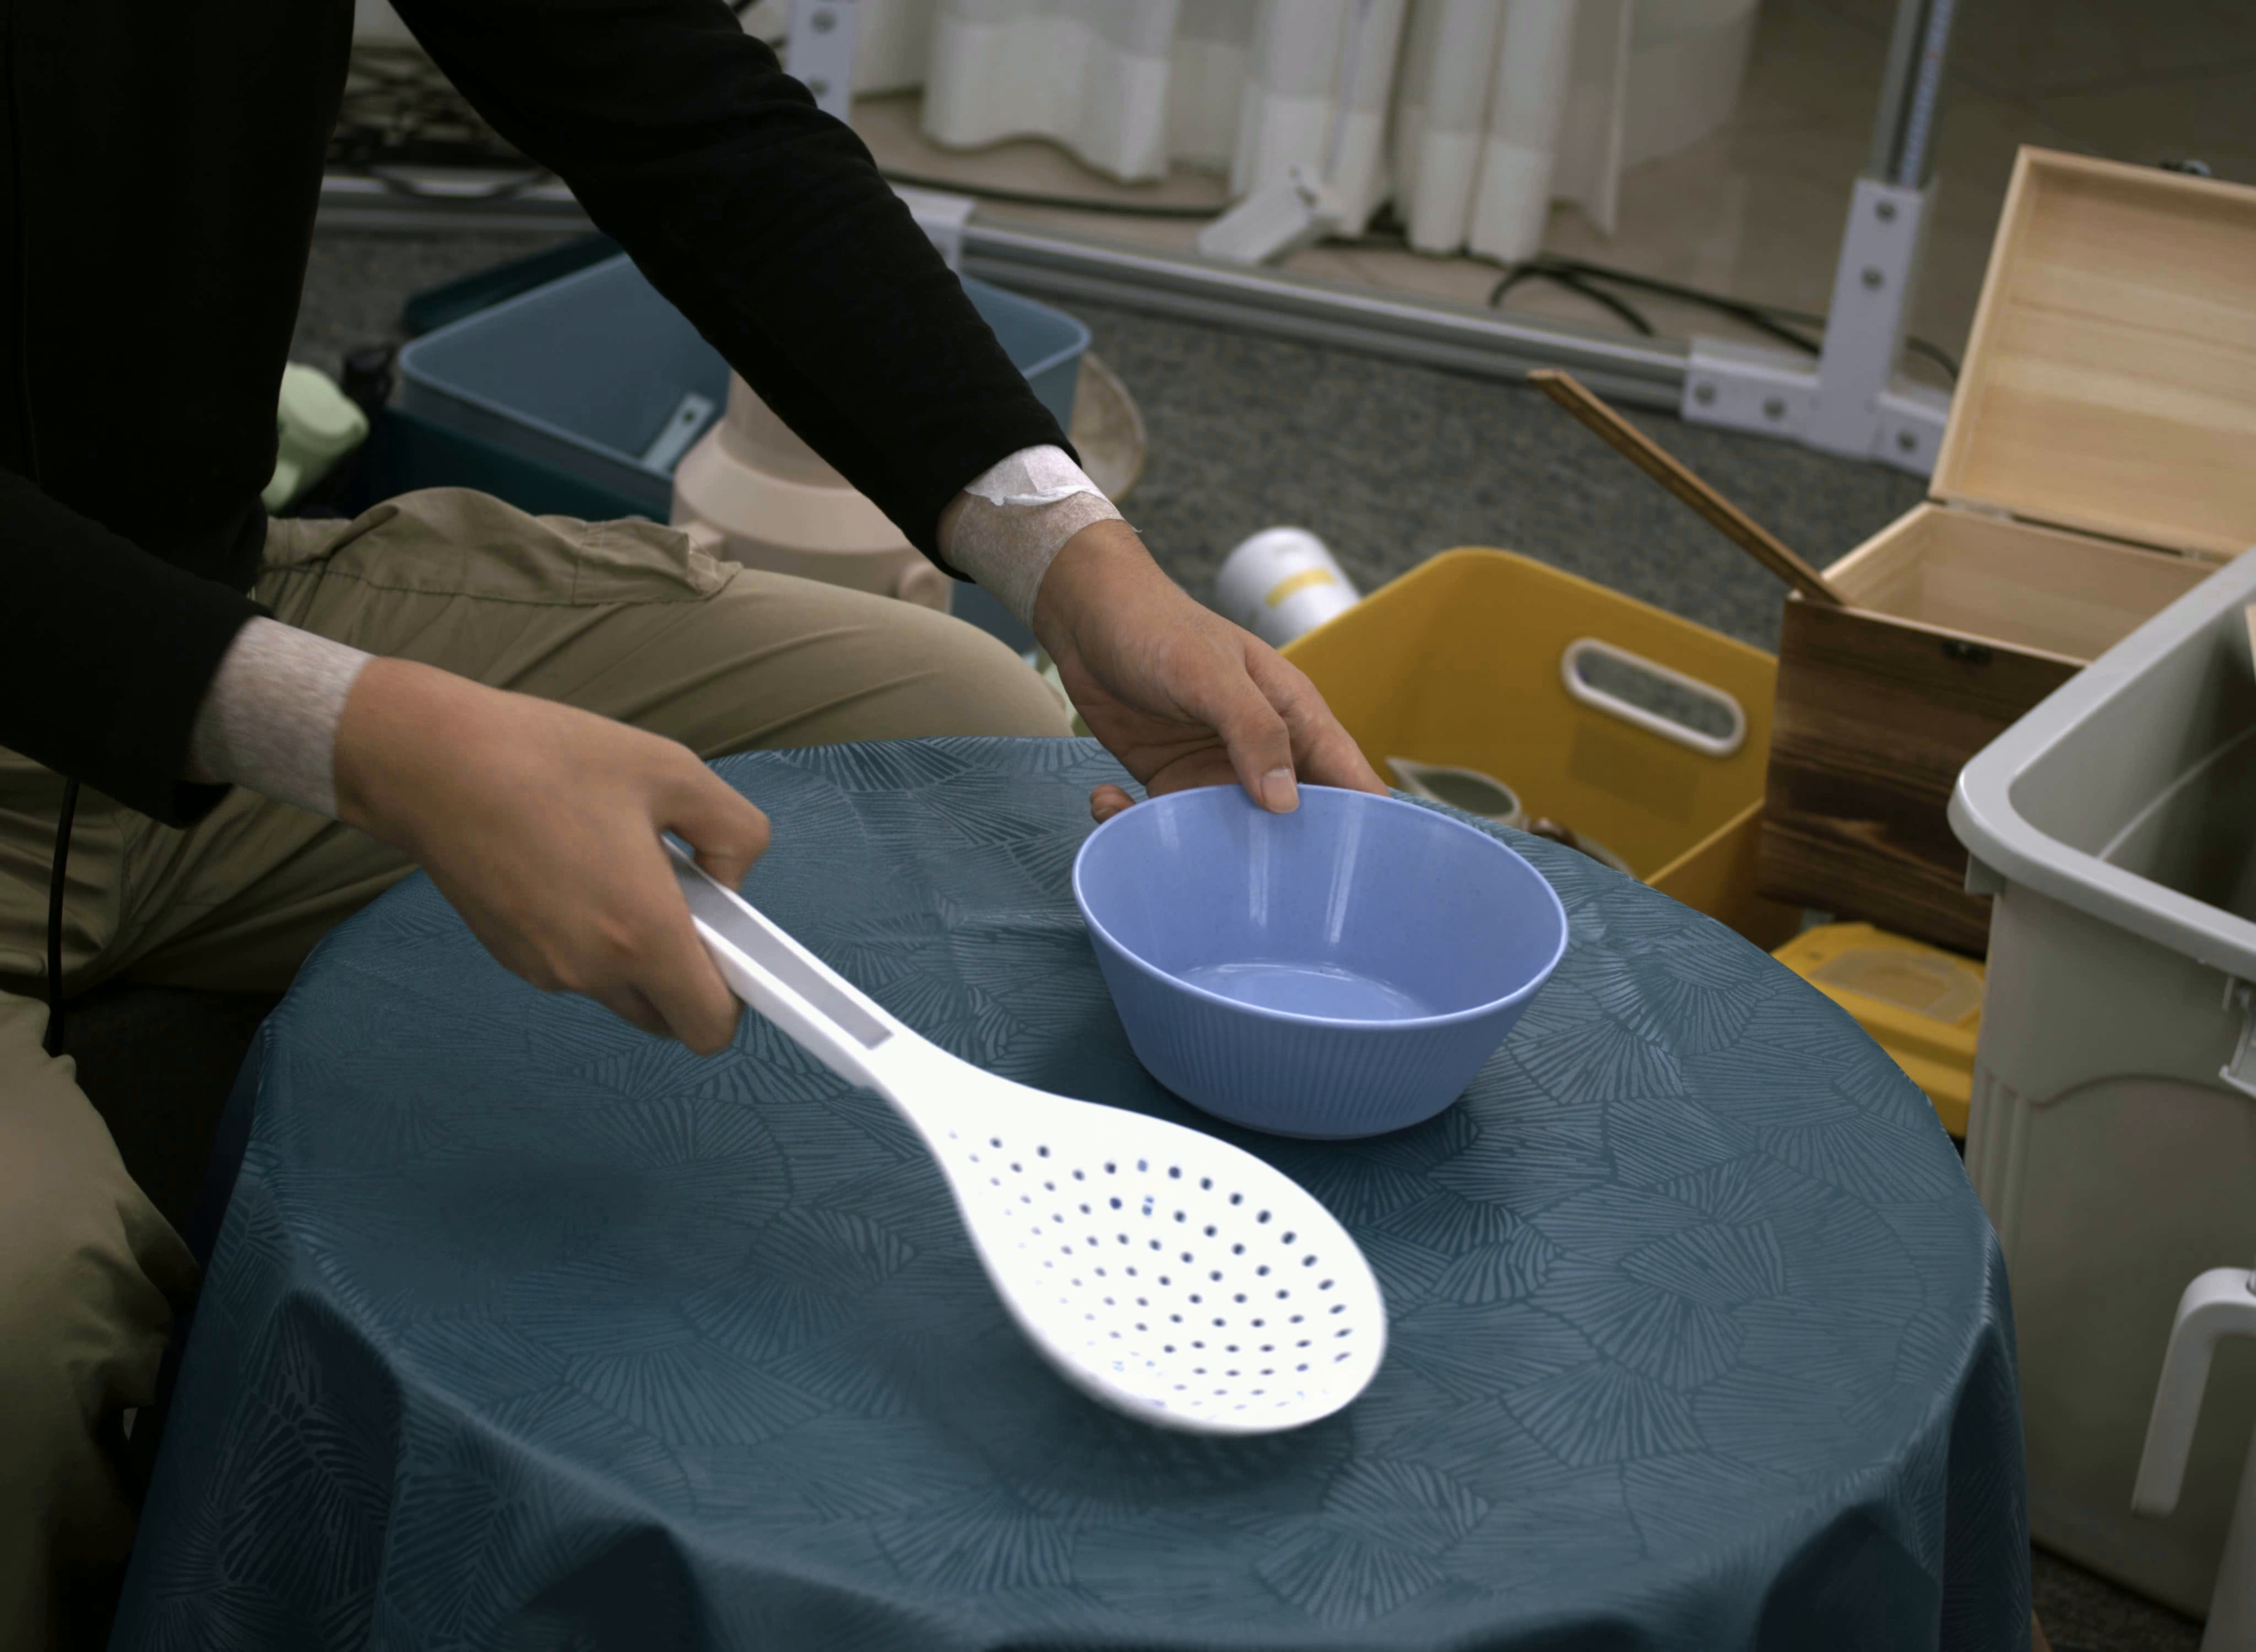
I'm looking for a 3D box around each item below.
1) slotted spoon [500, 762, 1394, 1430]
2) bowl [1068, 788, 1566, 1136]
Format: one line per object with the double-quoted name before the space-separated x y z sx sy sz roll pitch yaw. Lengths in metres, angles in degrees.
"slotted spoon" -0.066 0.084 1.710 0.351 0.045 0.136 39 35 14
"bowl" 0.063 0.053 1.877 0.175 0.070 0.177 4 26 -2
